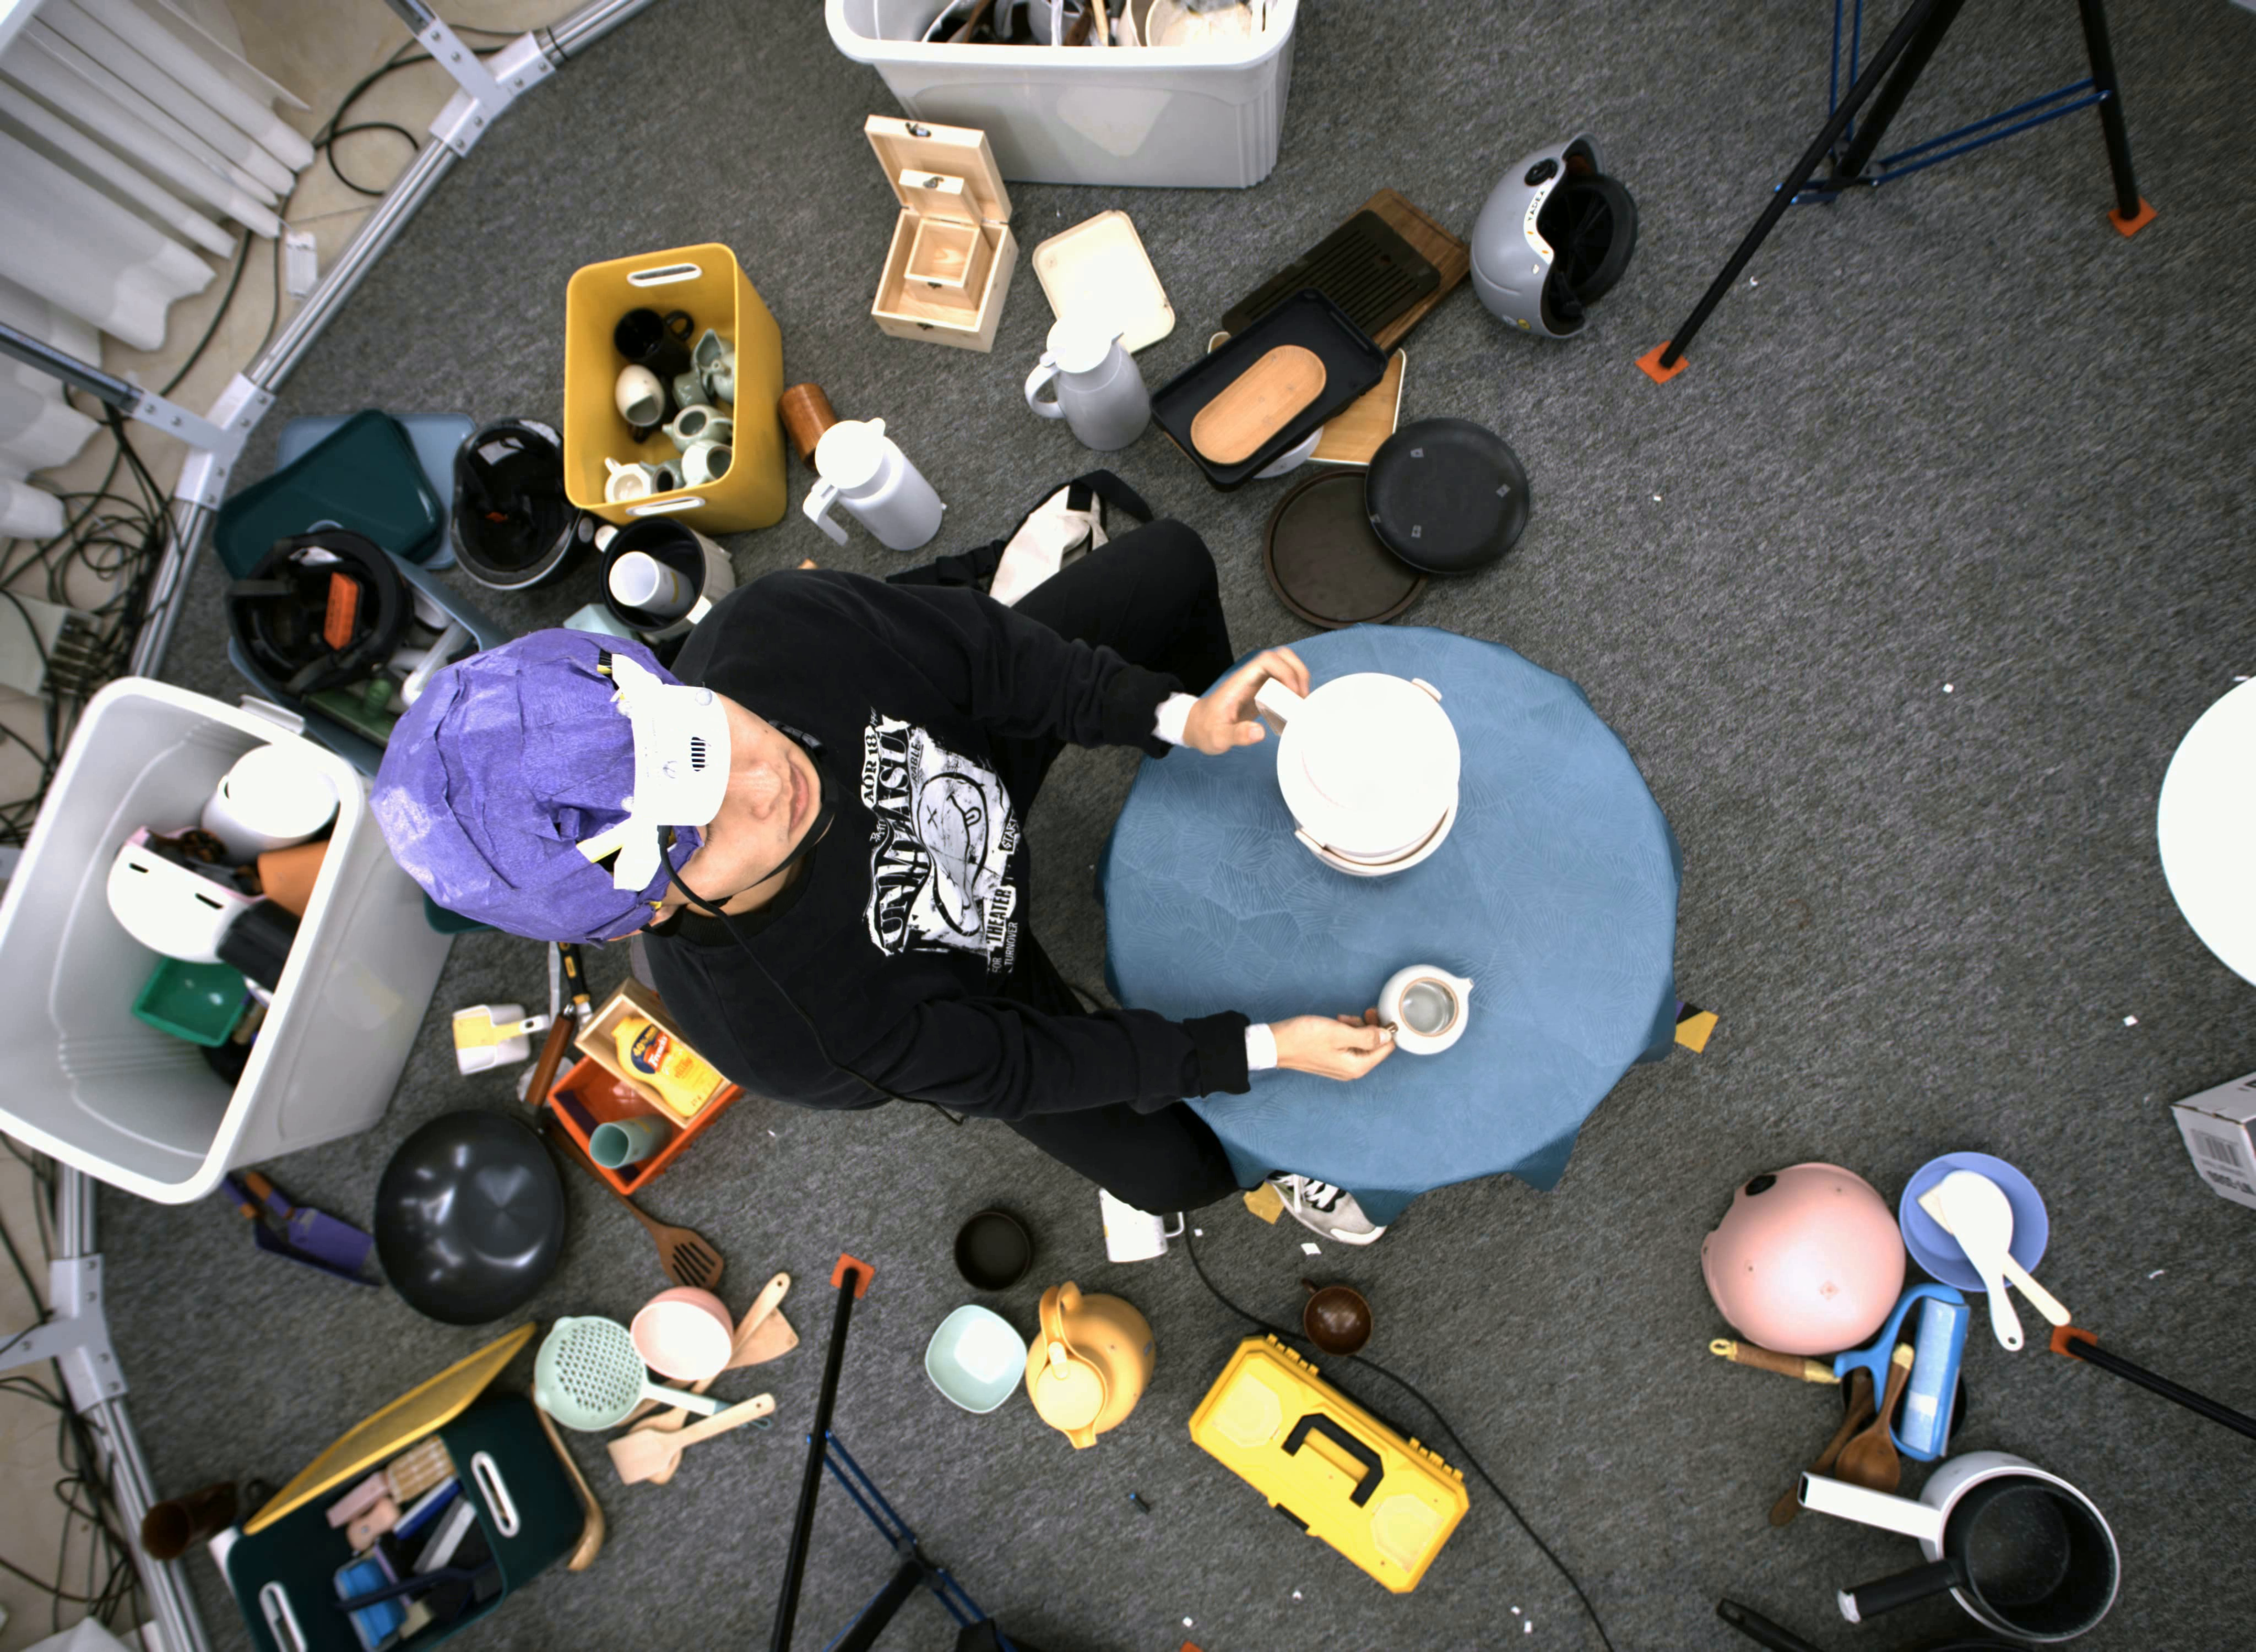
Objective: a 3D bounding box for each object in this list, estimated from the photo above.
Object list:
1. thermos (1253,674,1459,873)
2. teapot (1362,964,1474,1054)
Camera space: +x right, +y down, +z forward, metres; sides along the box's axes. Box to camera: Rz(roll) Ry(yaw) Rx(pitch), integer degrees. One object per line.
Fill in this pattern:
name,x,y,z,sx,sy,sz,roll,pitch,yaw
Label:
thermos,0.211,-0.056,1.278,0.206,0.406,0.176,37,93,11
teapot,0.295,0.191,1.415,0.128,0.060,0.091,-31,84,-4
